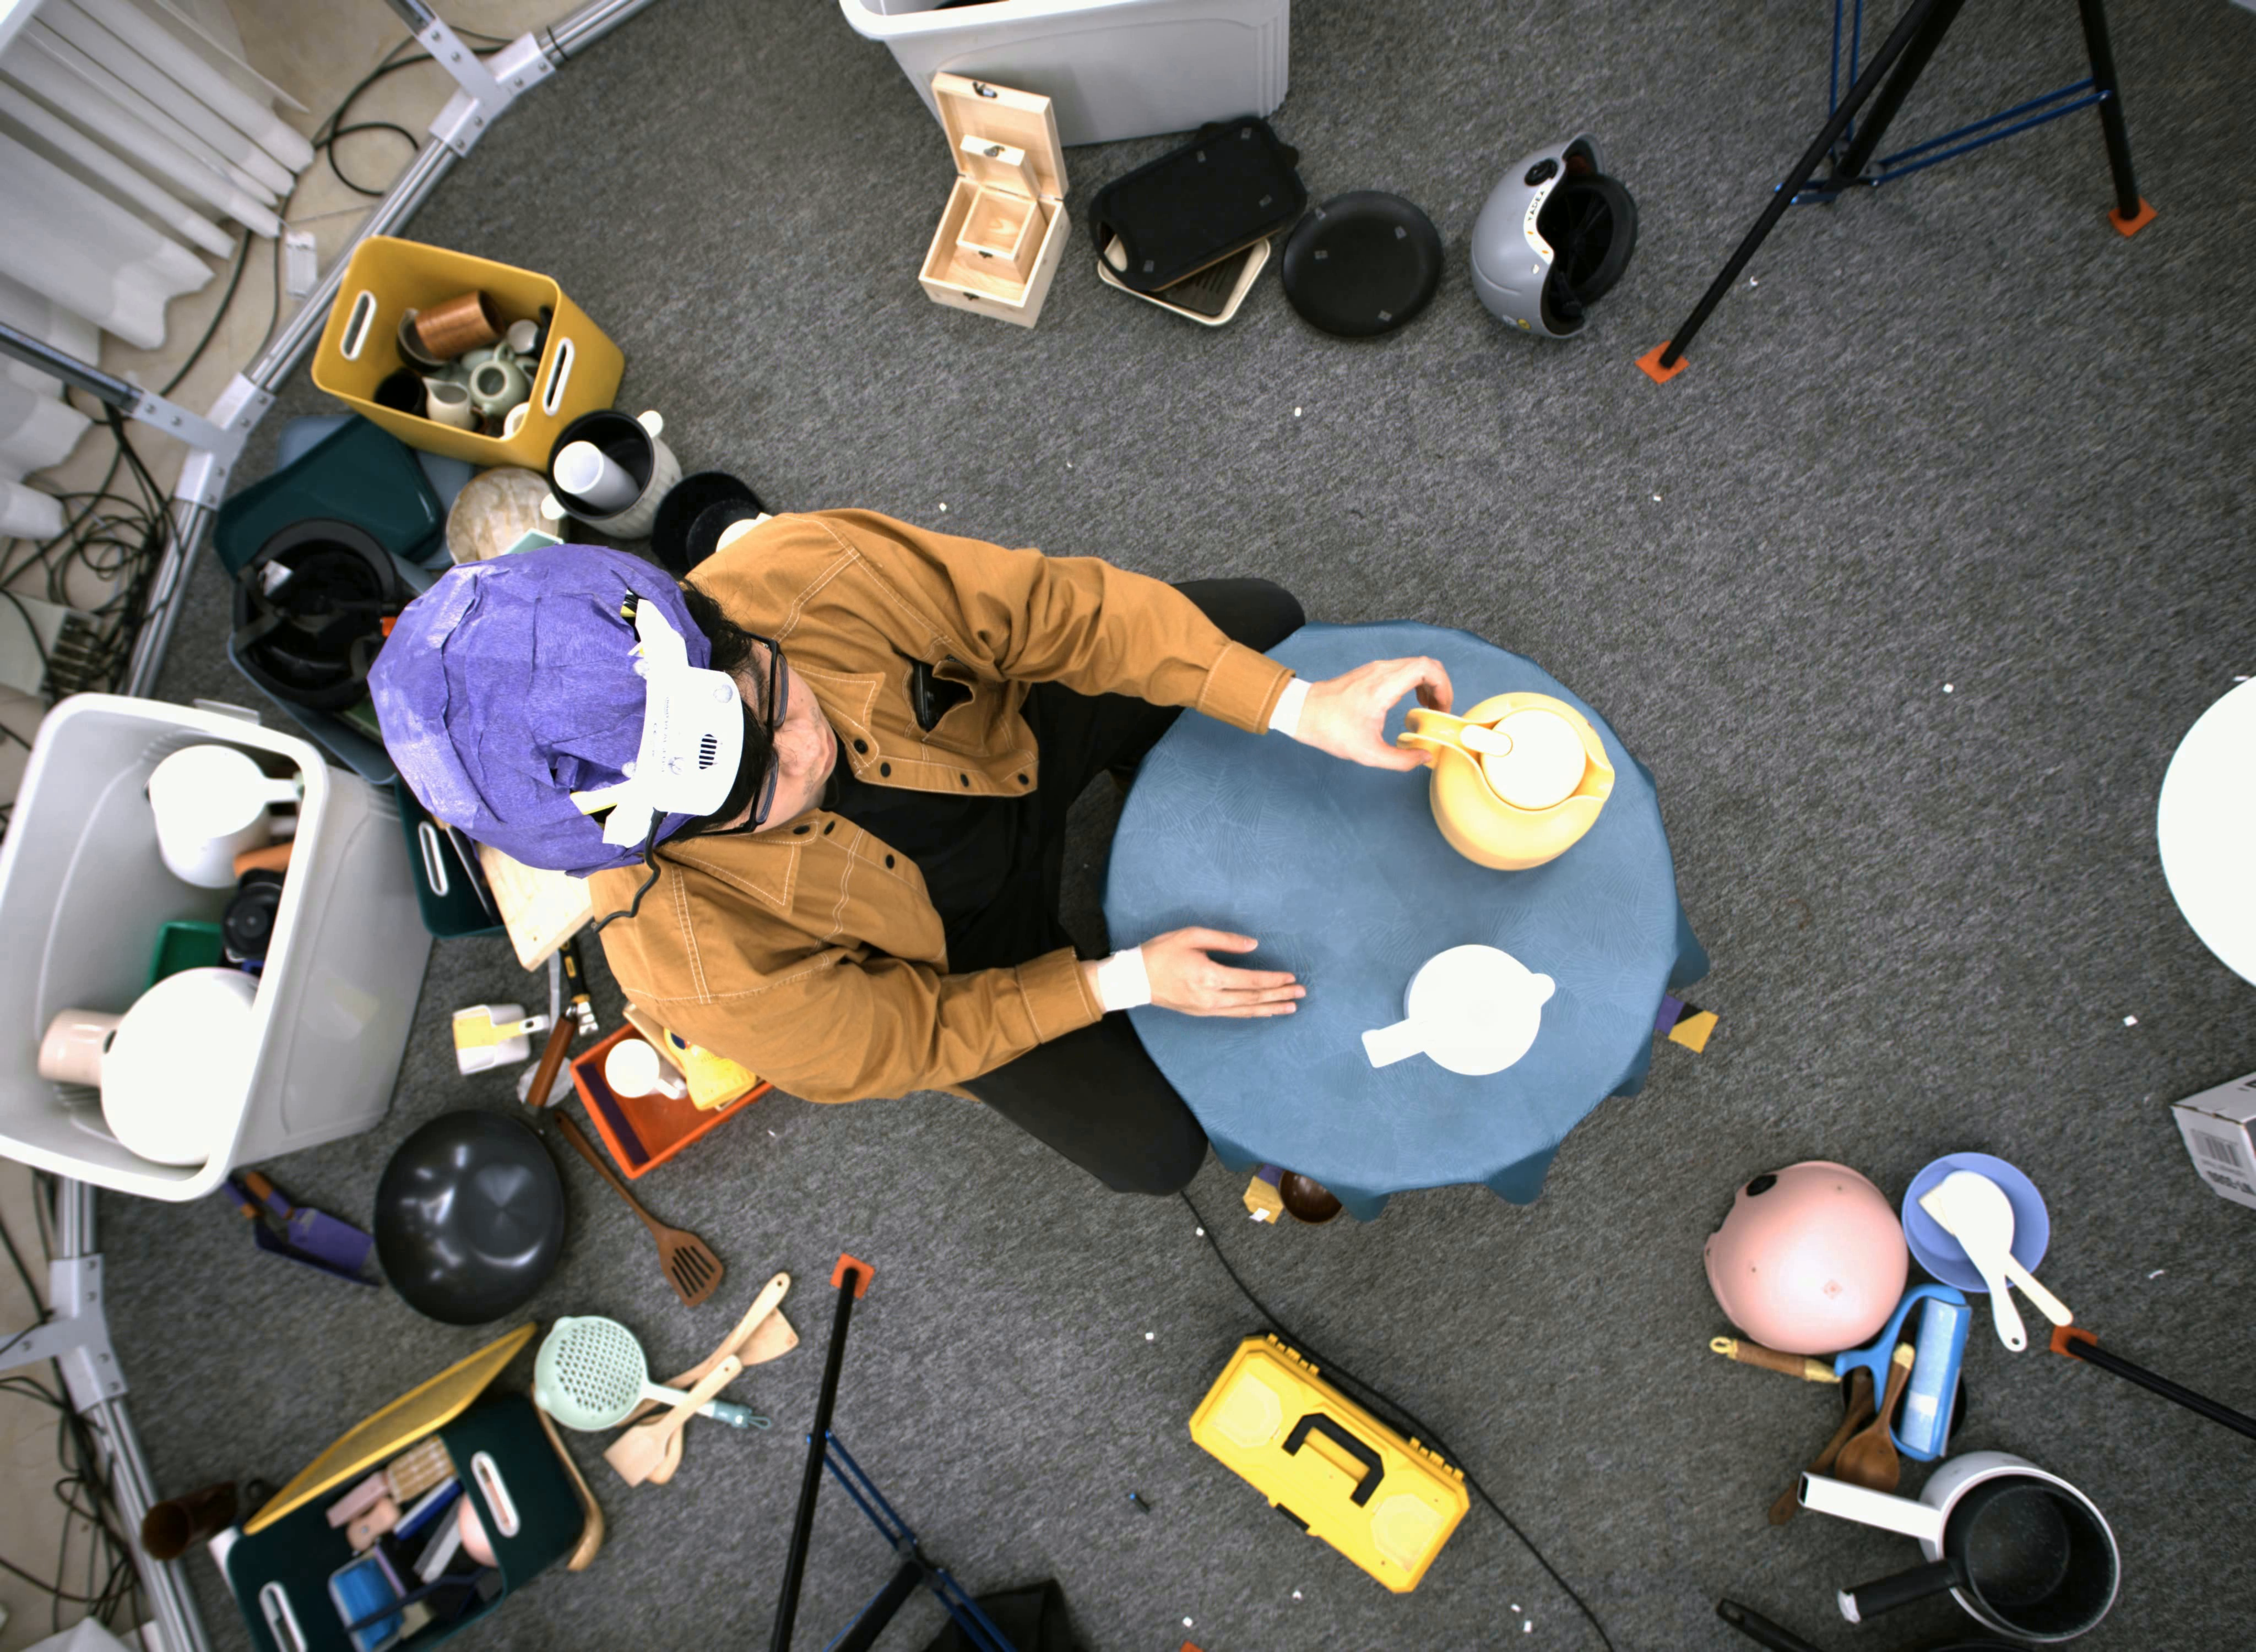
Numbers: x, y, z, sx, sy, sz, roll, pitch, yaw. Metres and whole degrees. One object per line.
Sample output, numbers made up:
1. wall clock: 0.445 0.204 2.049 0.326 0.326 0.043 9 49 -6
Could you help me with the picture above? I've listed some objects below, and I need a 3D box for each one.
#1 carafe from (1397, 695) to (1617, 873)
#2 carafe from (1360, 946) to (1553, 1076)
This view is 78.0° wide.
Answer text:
1. carafe: 0.357 -0.054 1.317 0.202 0.261 0.163 24 87 10
2. carafe: 0.307 0.180 1.313 0.174 0.269 0.123 -23 83 8
